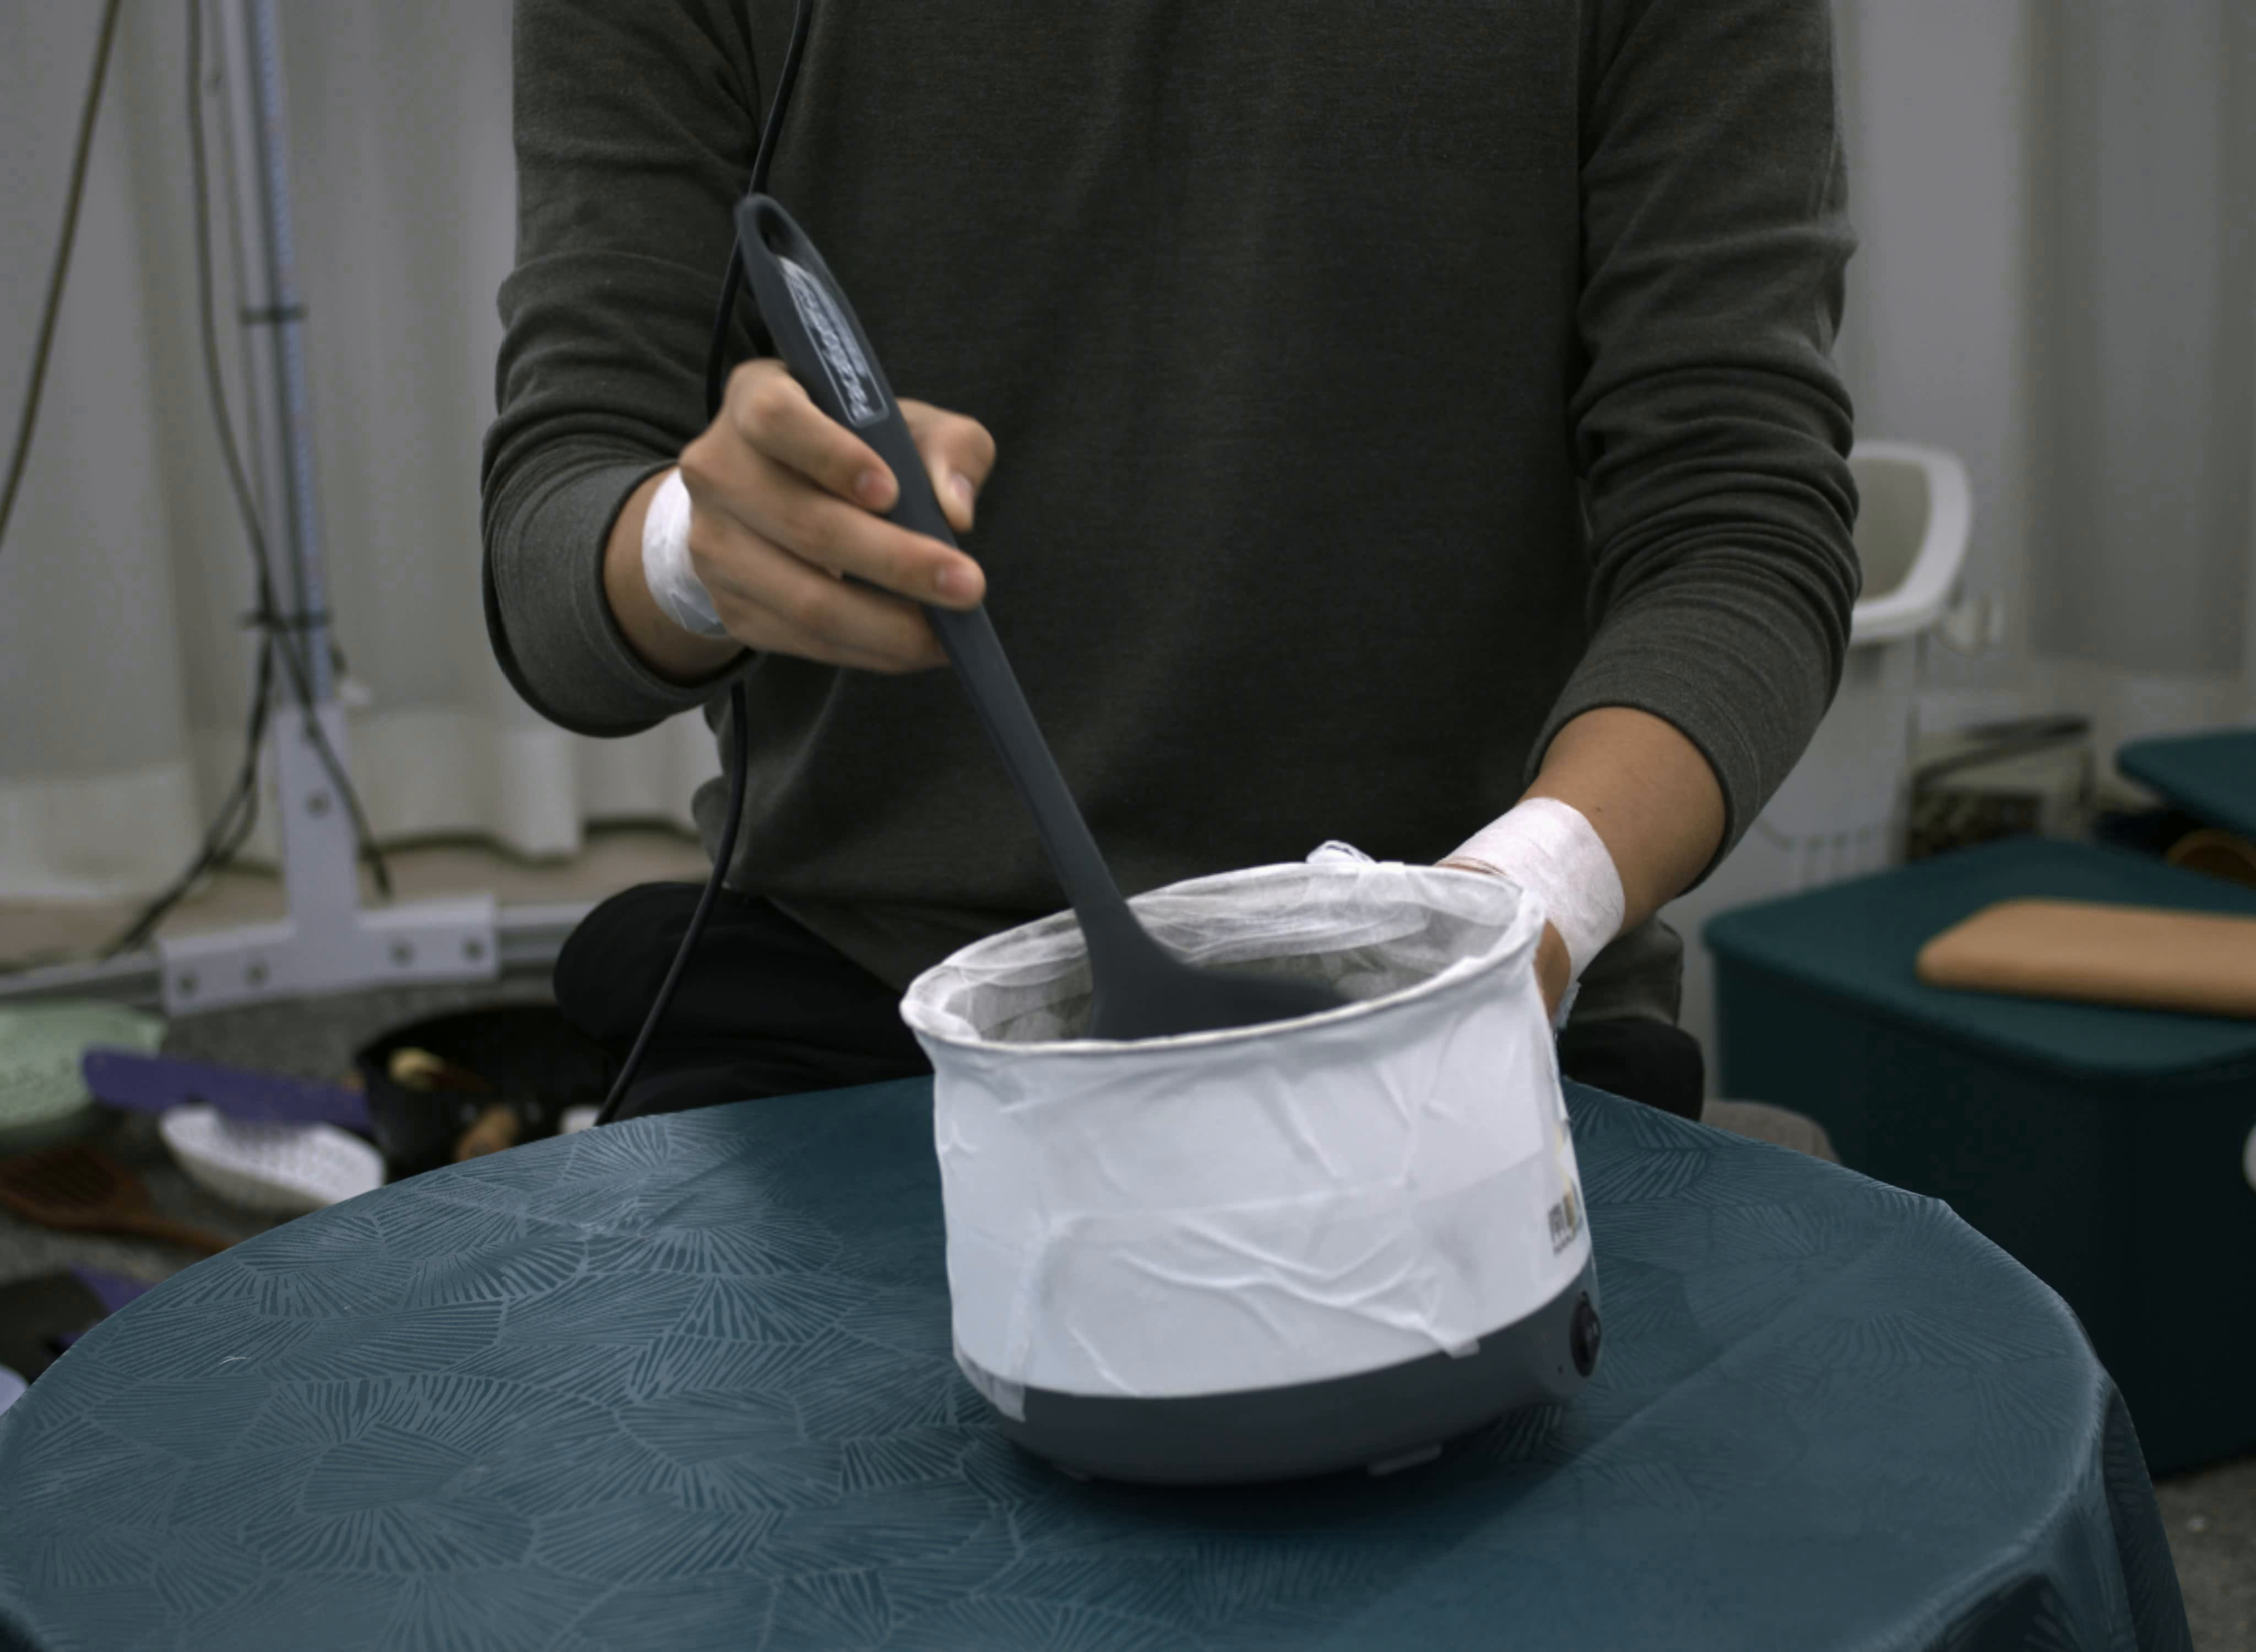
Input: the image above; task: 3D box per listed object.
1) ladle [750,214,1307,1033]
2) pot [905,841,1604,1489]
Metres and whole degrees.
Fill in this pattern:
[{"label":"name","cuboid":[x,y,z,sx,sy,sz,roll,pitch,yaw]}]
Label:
[{"label":"ladle","cuboid":[-0.030,-0.041,1.534,0.086,0.316,0.063,-22,-9,-23]},{"label":"pot","cuboid":[0.045,0.089,1.522,0.178,0.136,0.234,-4,13,21]}]
